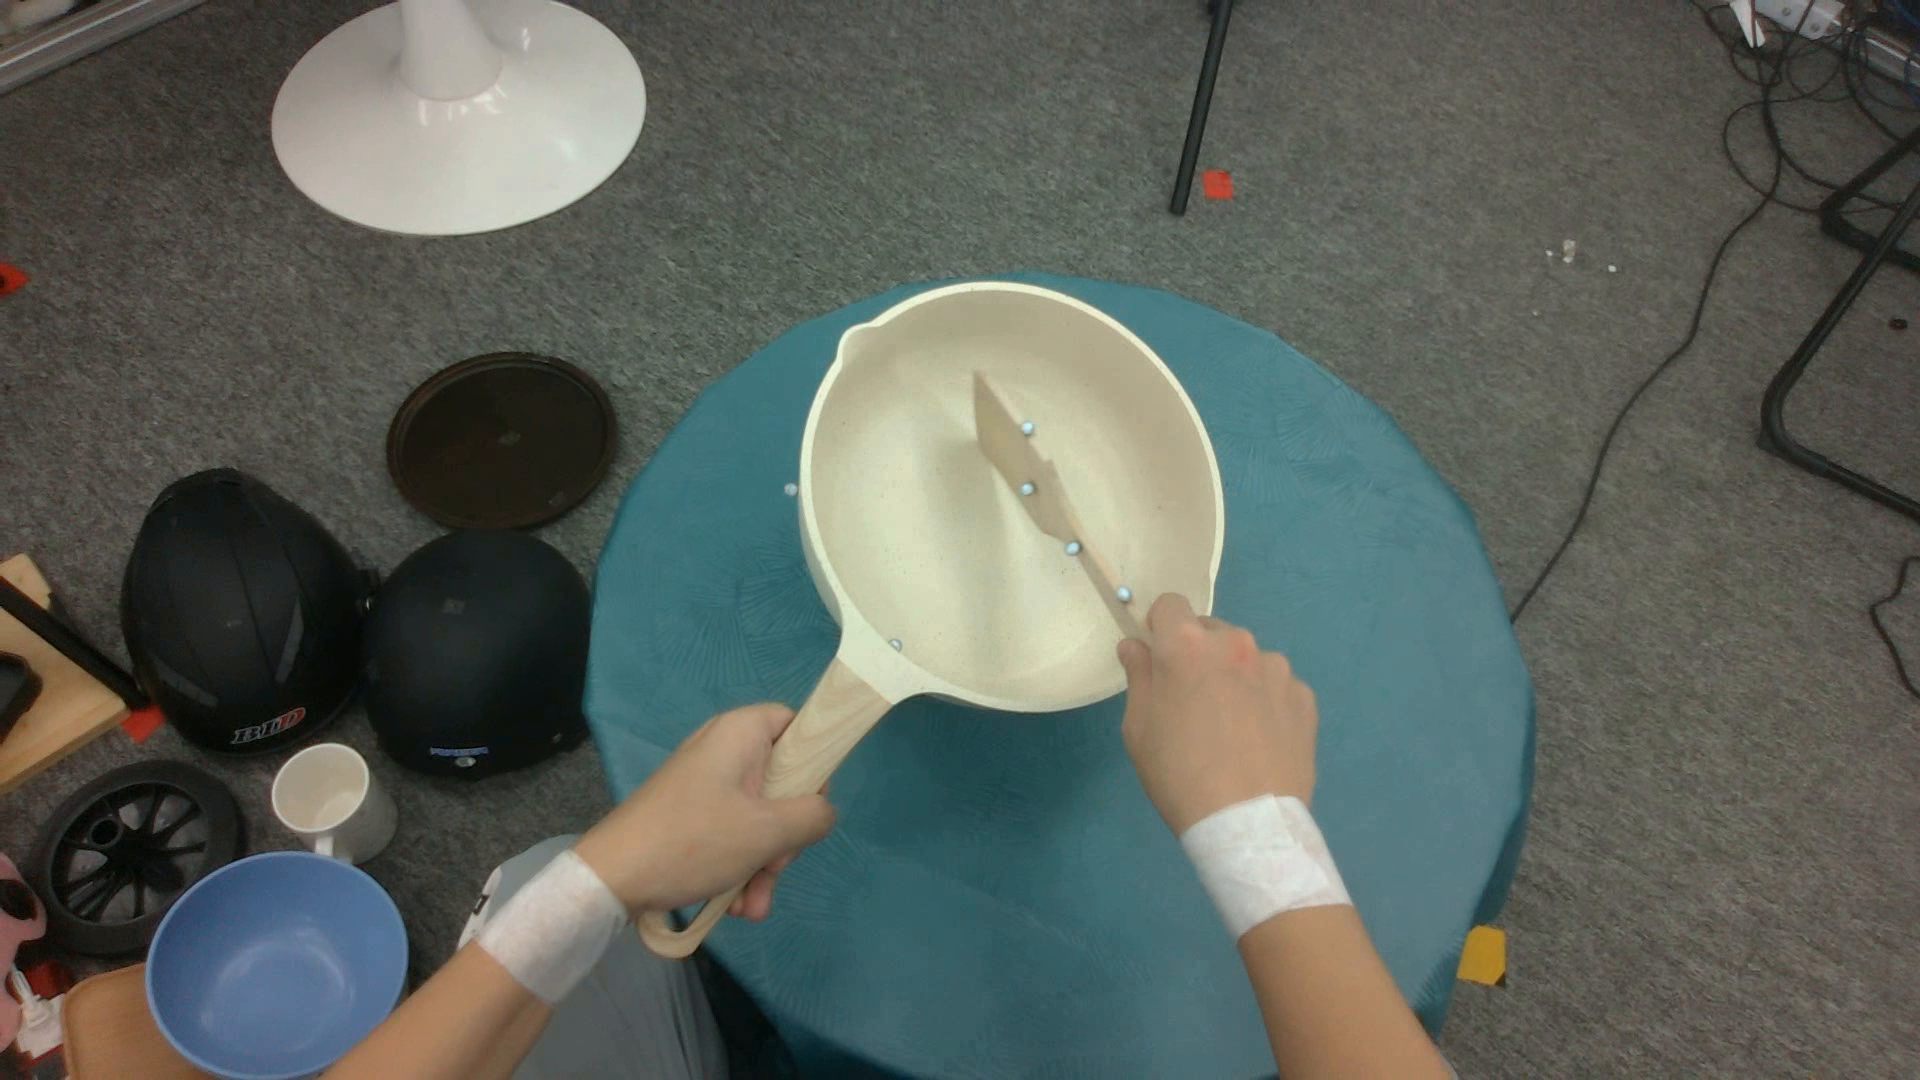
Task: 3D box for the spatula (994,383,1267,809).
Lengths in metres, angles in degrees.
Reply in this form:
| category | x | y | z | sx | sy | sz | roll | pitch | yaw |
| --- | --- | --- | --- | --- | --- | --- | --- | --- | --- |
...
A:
| category | x | y | z | sx | sy | sz | roll | pitch | yaw |
| --- | --- | --- | --- | --- | --- | --- | --- | --- | --- |
| spatula | 0.086 | 0.025 | 0.754 | 0.010 | 0.072 | 0.294 | -22 | 53 | -12 |

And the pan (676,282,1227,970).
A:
| category | x | y | z | sx | sy | sz | roll | pitch | yaw |
| --- | --- | --- | --- | --- | --- | --- | --- | --- | --- |
| pan | -0.022 | 0.046 | 0.771 | 0.263 | 0.101 | 0.436 | 39 | 67 | -5 |
